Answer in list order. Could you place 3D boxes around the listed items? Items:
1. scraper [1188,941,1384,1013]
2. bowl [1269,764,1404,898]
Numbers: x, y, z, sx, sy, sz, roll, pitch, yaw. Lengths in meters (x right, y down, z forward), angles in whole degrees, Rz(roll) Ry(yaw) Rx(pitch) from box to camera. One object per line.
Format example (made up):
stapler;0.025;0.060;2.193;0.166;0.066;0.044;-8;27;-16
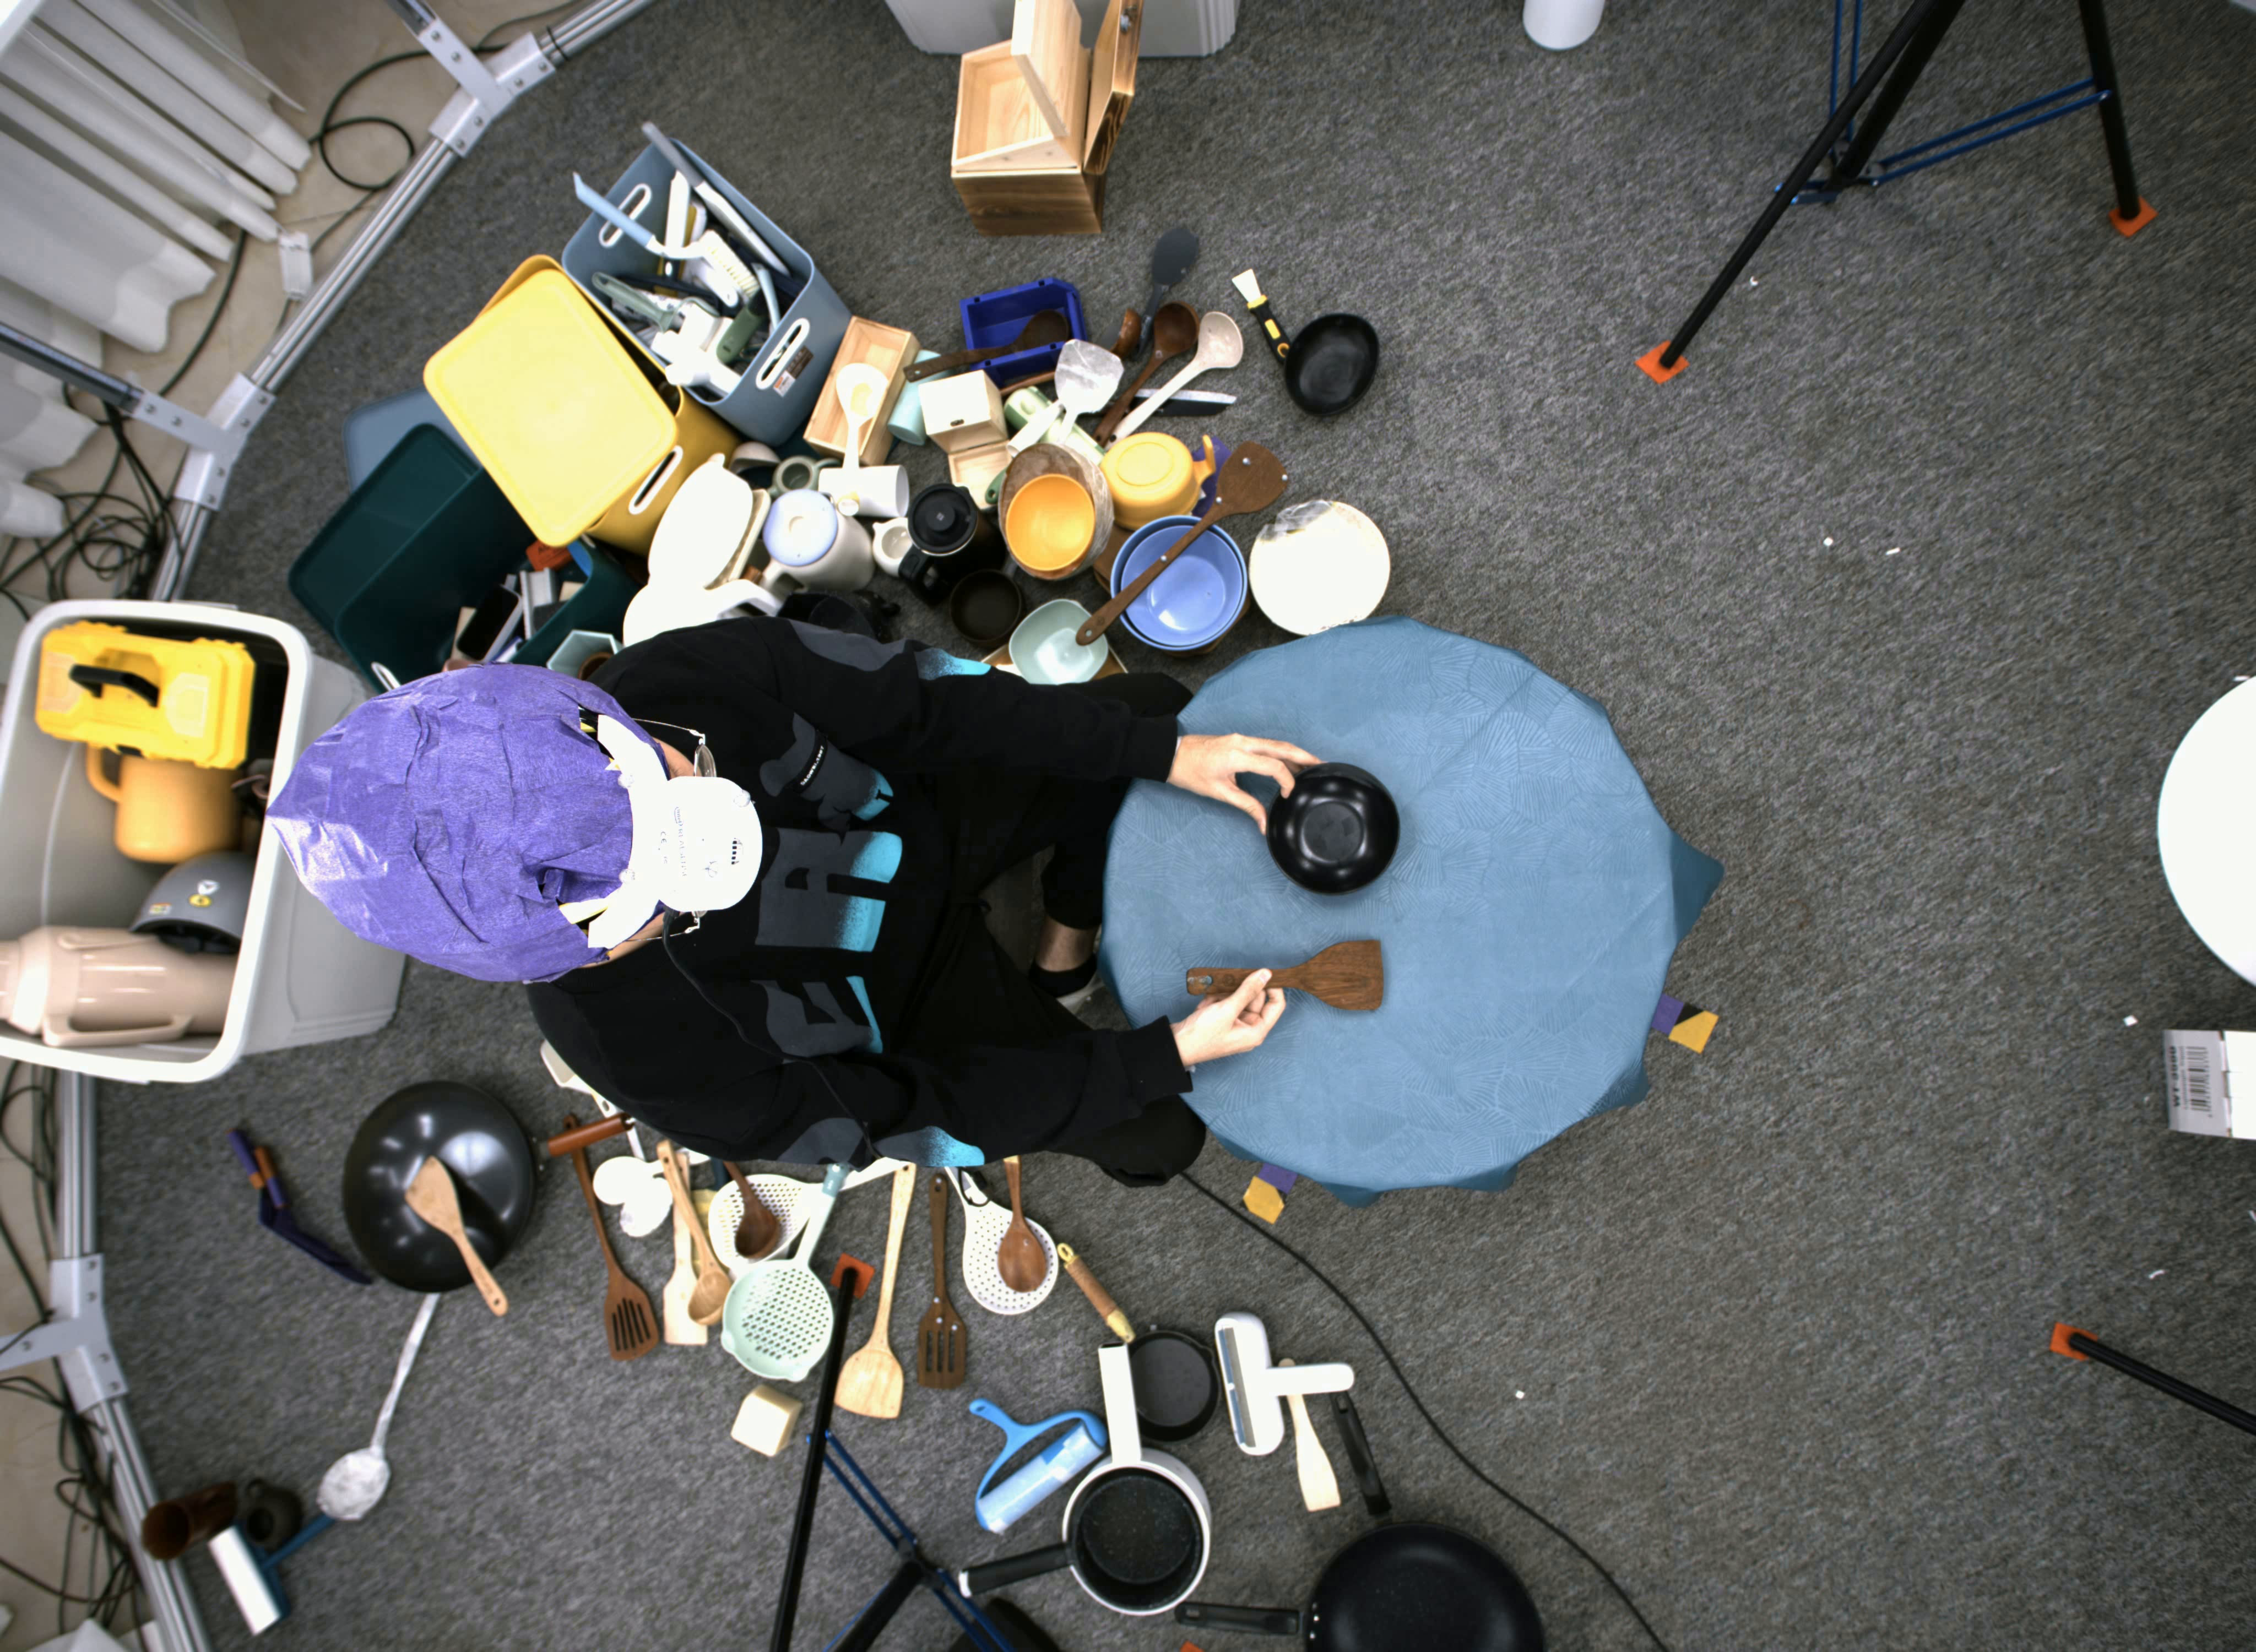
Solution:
scraper;0.164;0.158;1.433;0.211;0.011;0.075;-1;90;-11
bowl;0.218;0.005;1.454;0.140;0.049;0.140;0;90;9
